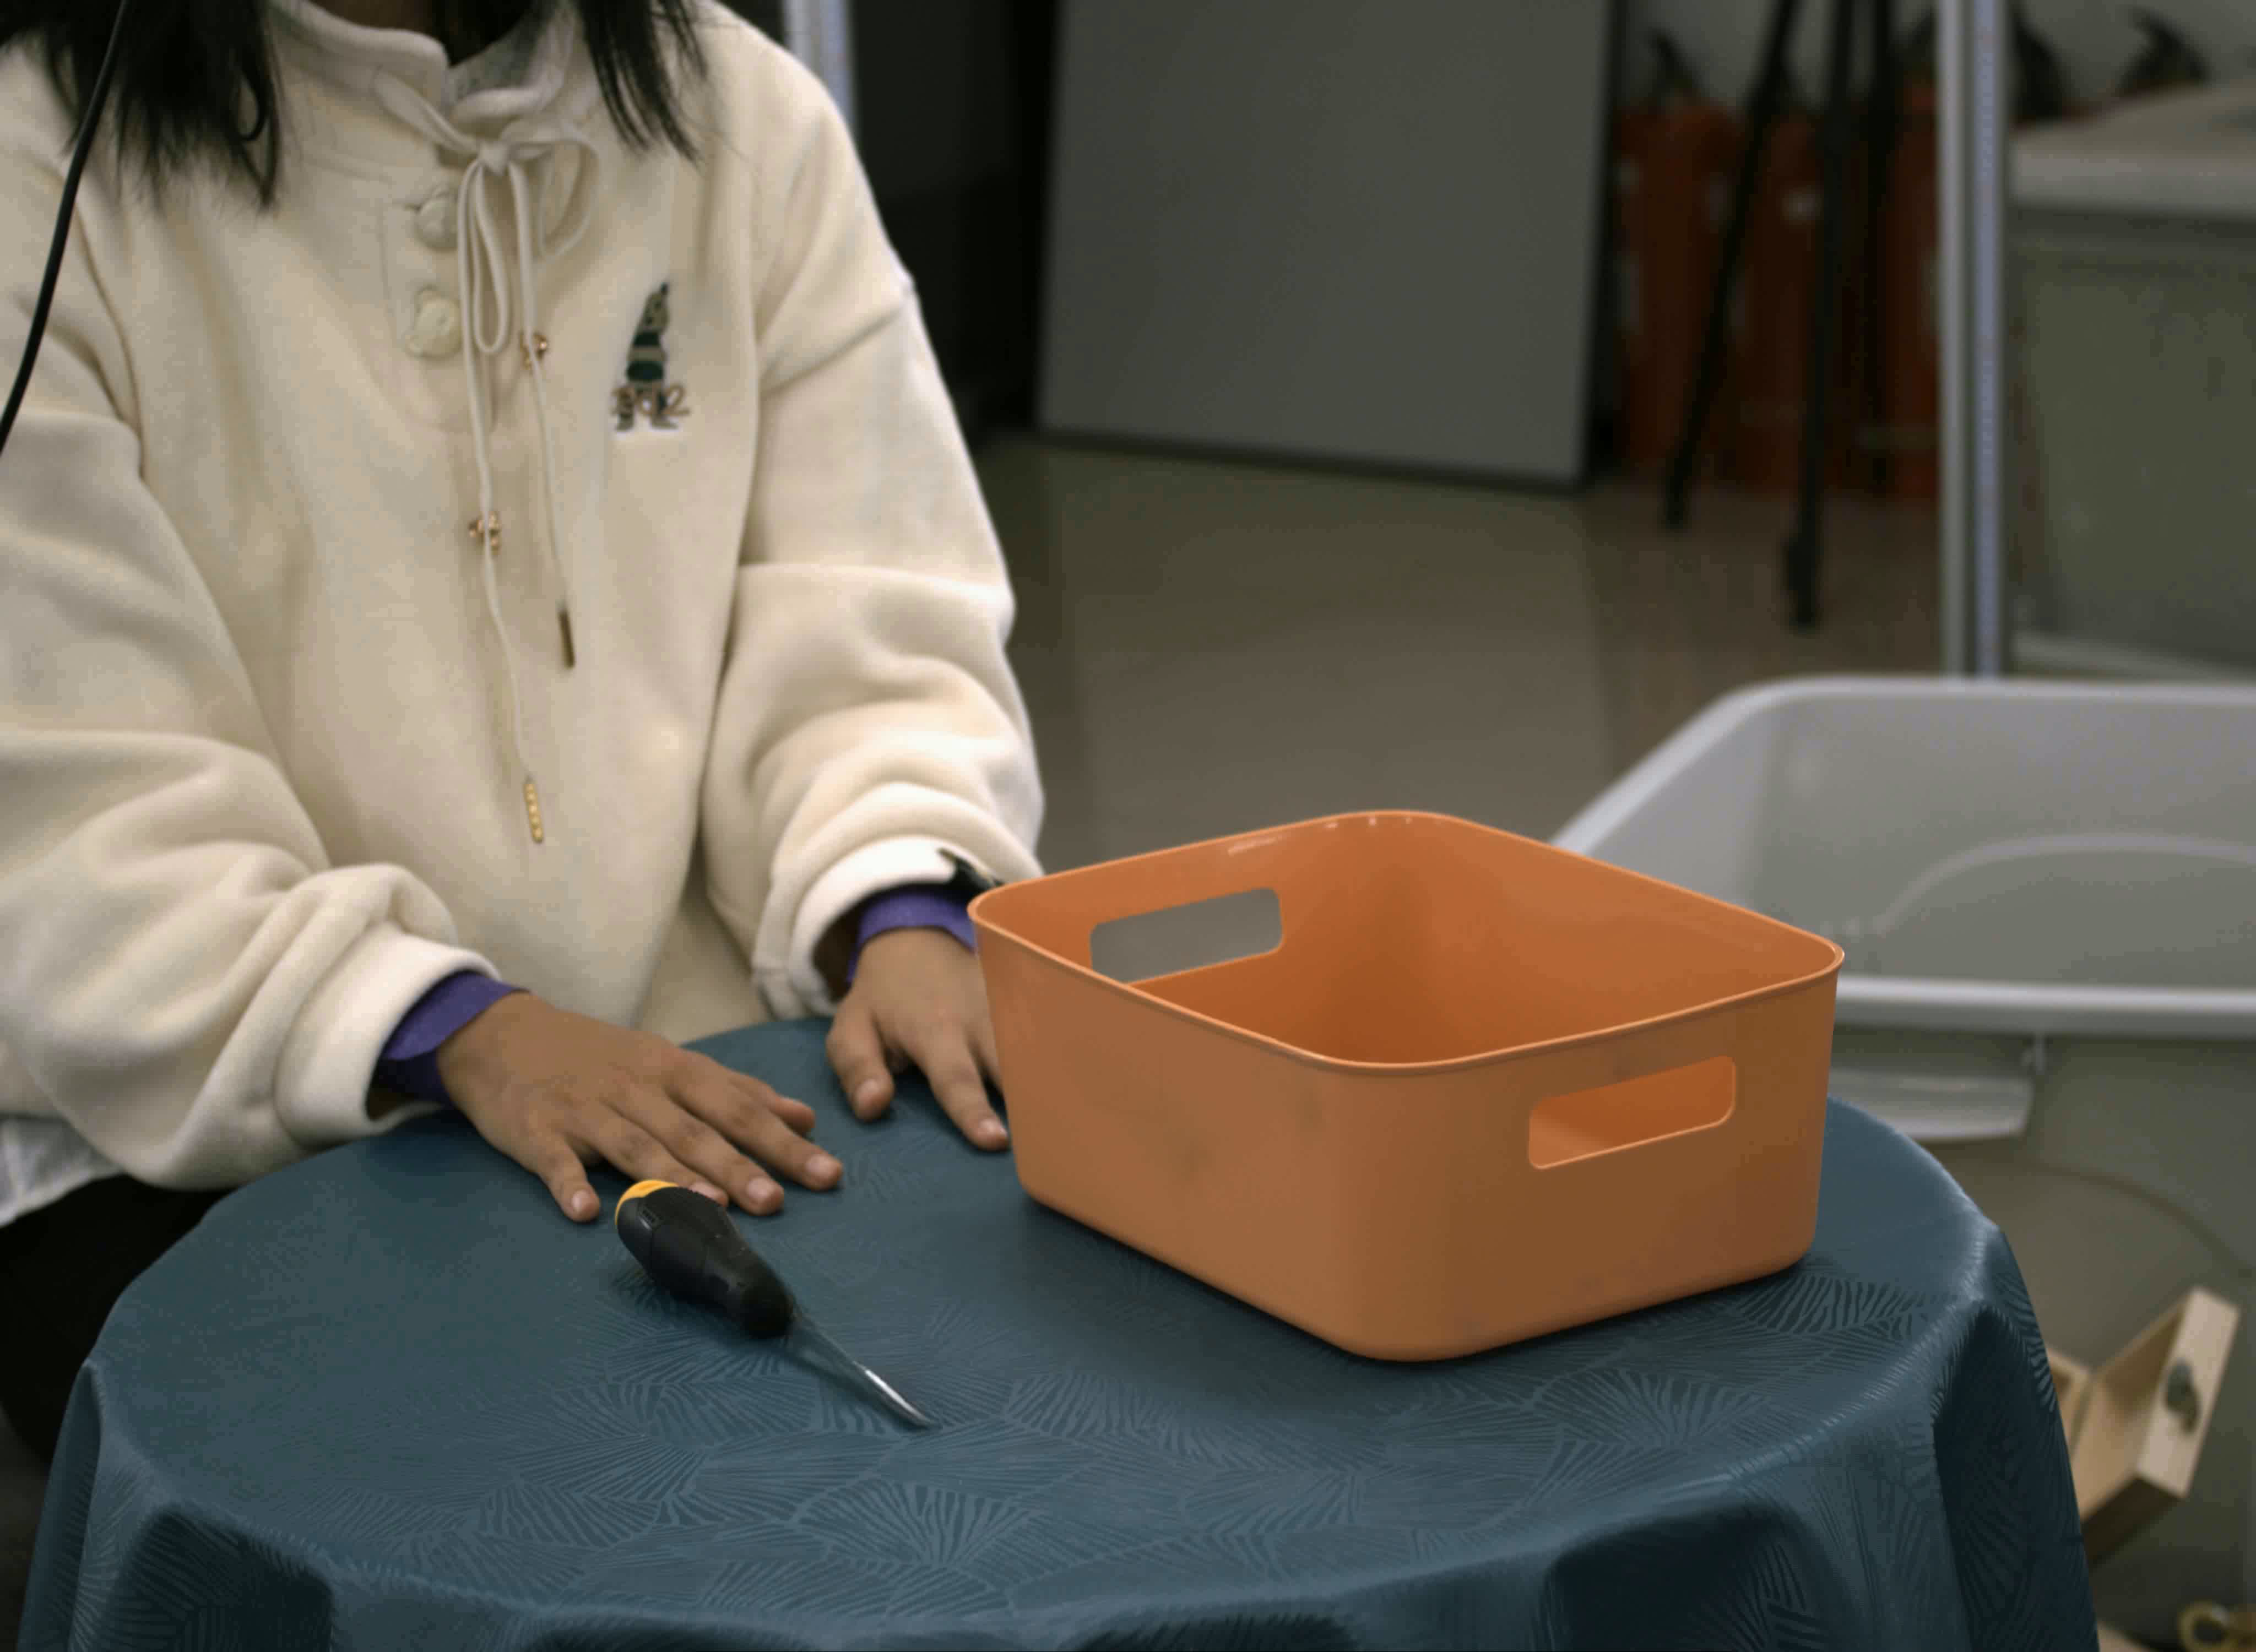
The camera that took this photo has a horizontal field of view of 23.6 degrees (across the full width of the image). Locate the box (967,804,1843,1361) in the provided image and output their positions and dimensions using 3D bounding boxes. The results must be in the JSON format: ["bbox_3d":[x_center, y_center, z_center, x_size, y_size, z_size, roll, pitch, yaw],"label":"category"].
[{"bbox_3d":[0.087,0.077,1.701,0.195,0.103,0.276,-12,16,-28],"label":"box"}]

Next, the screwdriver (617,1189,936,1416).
[{"bbox_3d":[-0.110,0.149,1.647,0.031,0.032,0.200,-10,17,-25],"label":"screwdriver"}]
